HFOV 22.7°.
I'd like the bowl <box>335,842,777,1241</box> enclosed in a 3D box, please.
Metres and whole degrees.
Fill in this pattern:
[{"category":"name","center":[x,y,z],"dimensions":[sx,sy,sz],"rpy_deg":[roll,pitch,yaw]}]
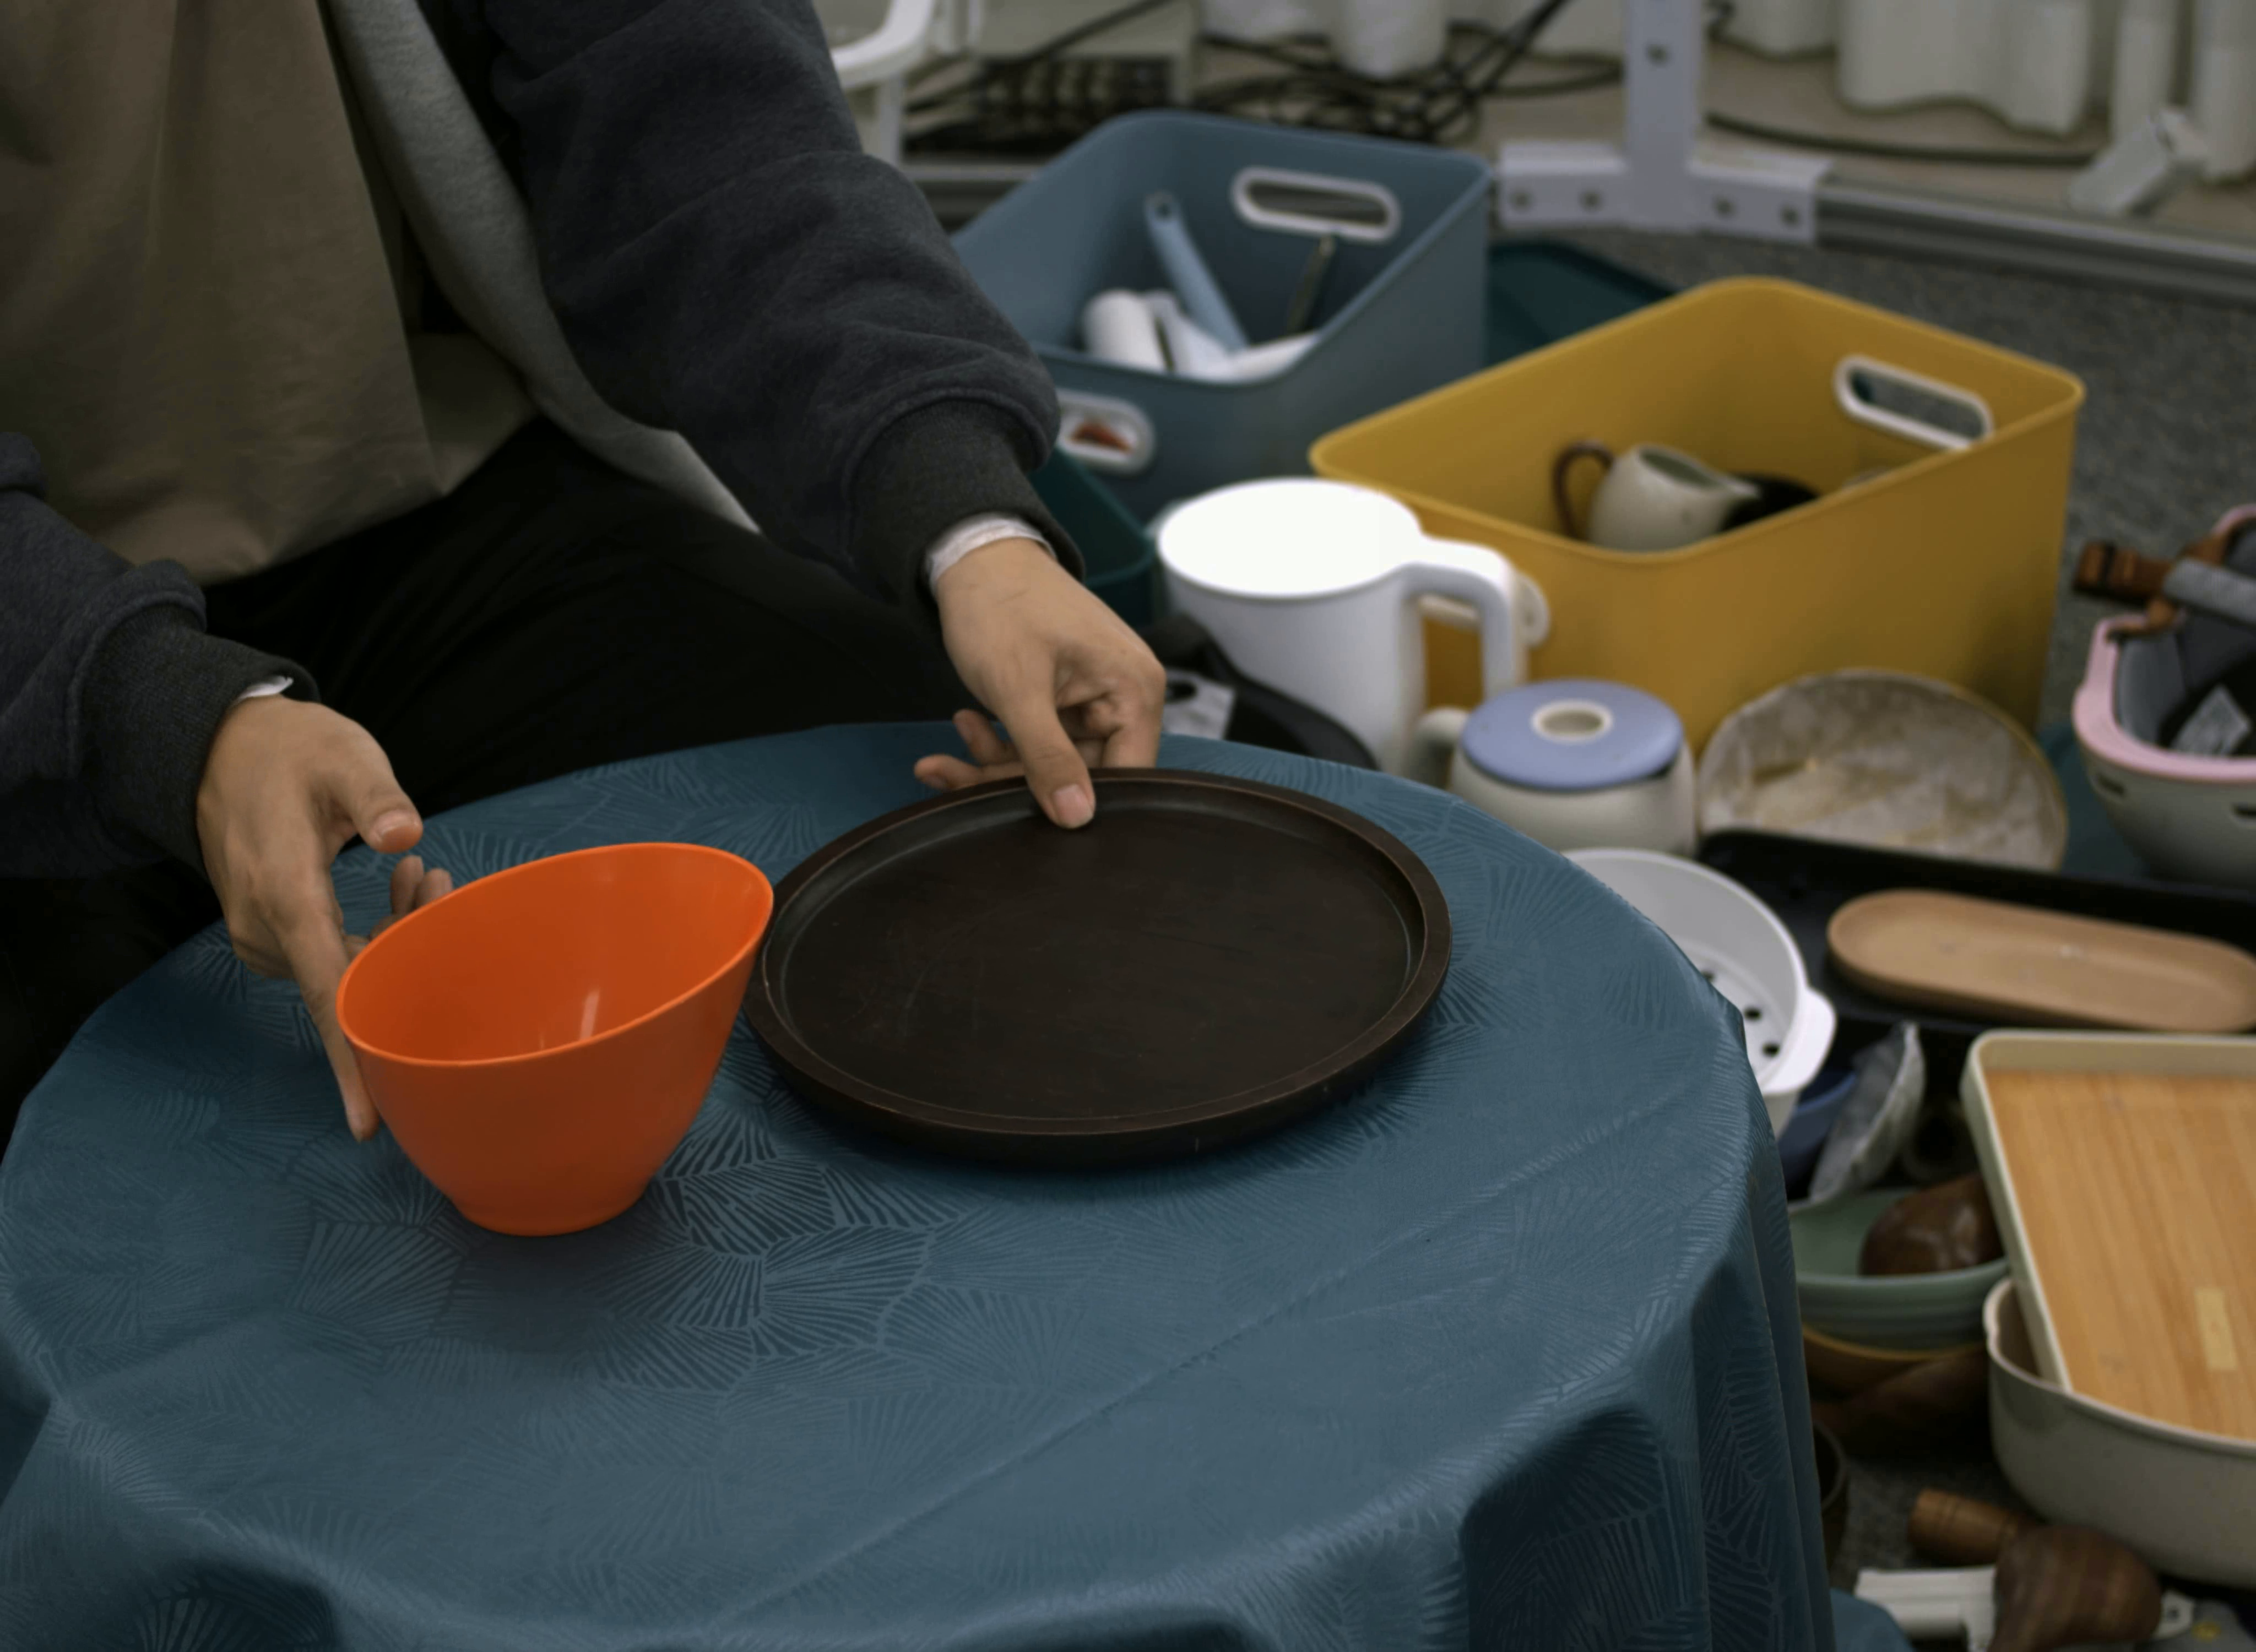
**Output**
[{"category":"bowl","center":[-0.186,0.078,1.857],"dimensions":[0.147,0.103,0.150],"rpy_deg":[-2,29,2]}]

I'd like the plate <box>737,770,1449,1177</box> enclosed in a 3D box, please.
[{"category":"plate","center":[-0.013,0.050,1.973],"dimensions":[0.253,0.029,0.259],"rpy_deg":[-3,29,2]}]
